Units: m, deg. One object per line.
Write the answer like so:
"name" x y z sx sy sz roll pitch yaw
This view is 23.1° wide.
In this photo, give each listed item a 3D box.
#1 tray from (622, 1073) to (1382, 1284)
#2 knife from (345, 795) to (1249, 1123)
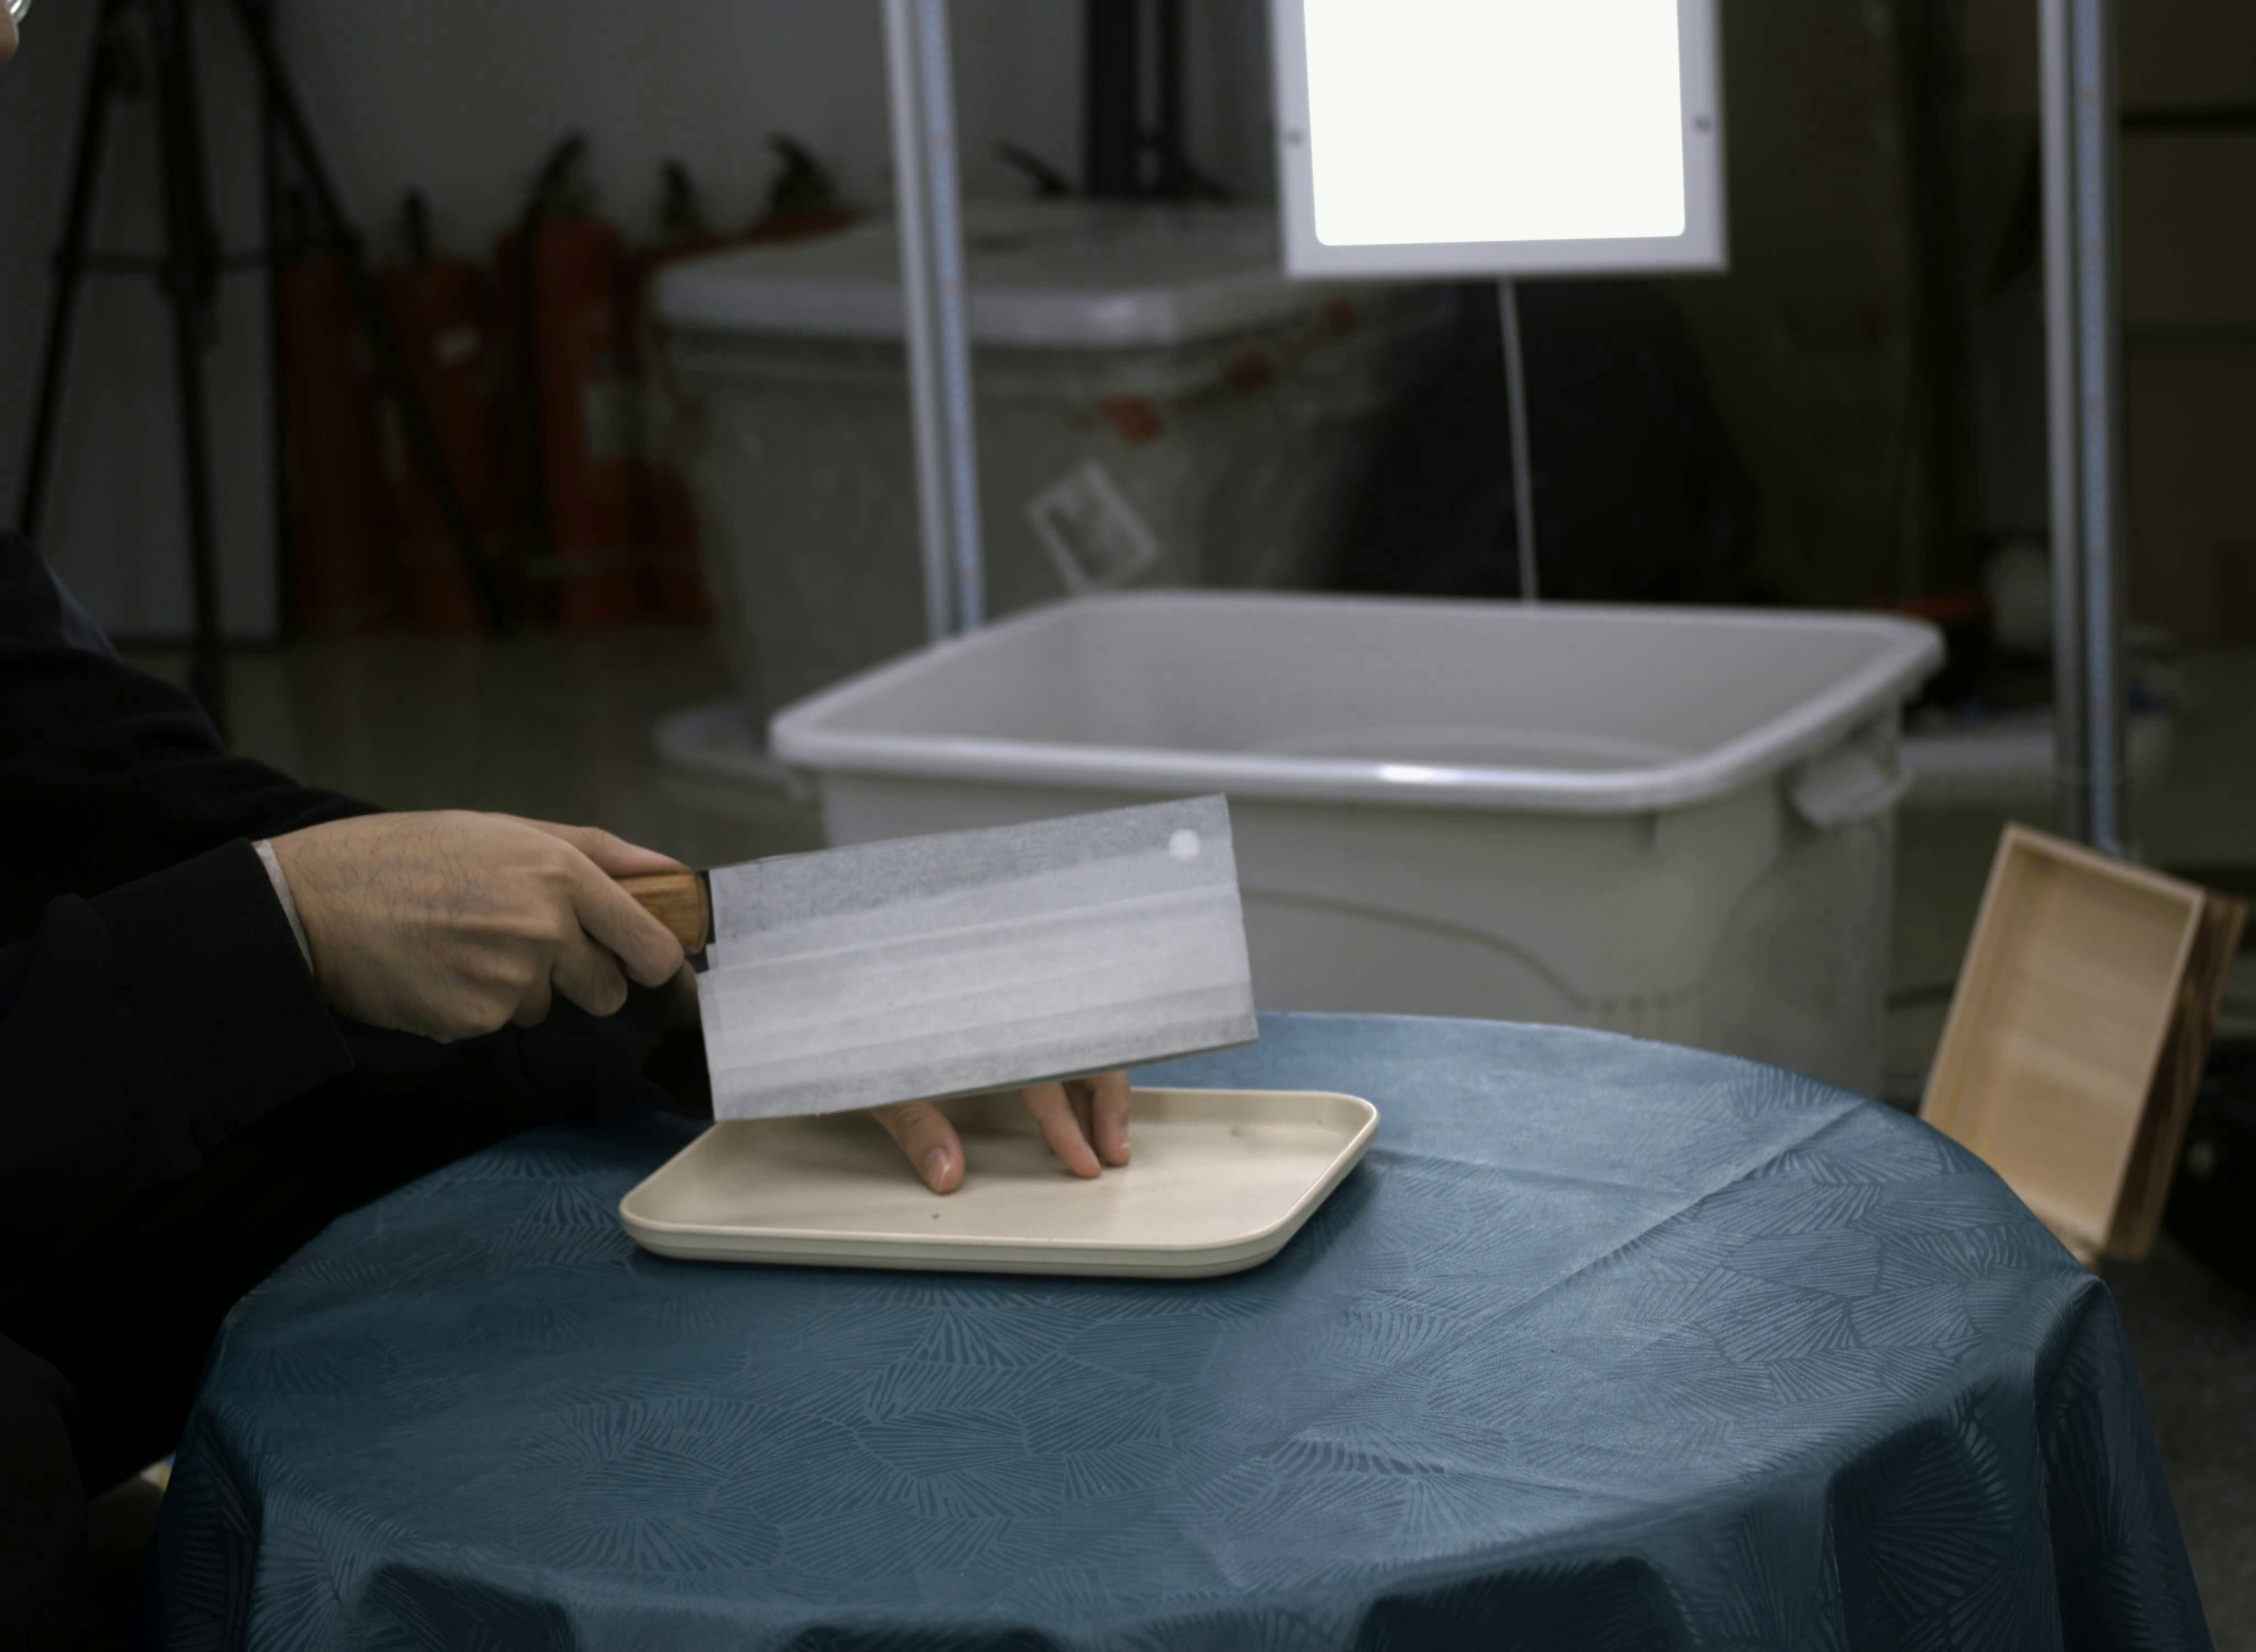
"tray" -0.042 0.121 1.895 0.243 0.017 0.168 1 17 21
"knife" -0.111 0.053 1.883 0.305 0.093 0.021 -8 11 1
